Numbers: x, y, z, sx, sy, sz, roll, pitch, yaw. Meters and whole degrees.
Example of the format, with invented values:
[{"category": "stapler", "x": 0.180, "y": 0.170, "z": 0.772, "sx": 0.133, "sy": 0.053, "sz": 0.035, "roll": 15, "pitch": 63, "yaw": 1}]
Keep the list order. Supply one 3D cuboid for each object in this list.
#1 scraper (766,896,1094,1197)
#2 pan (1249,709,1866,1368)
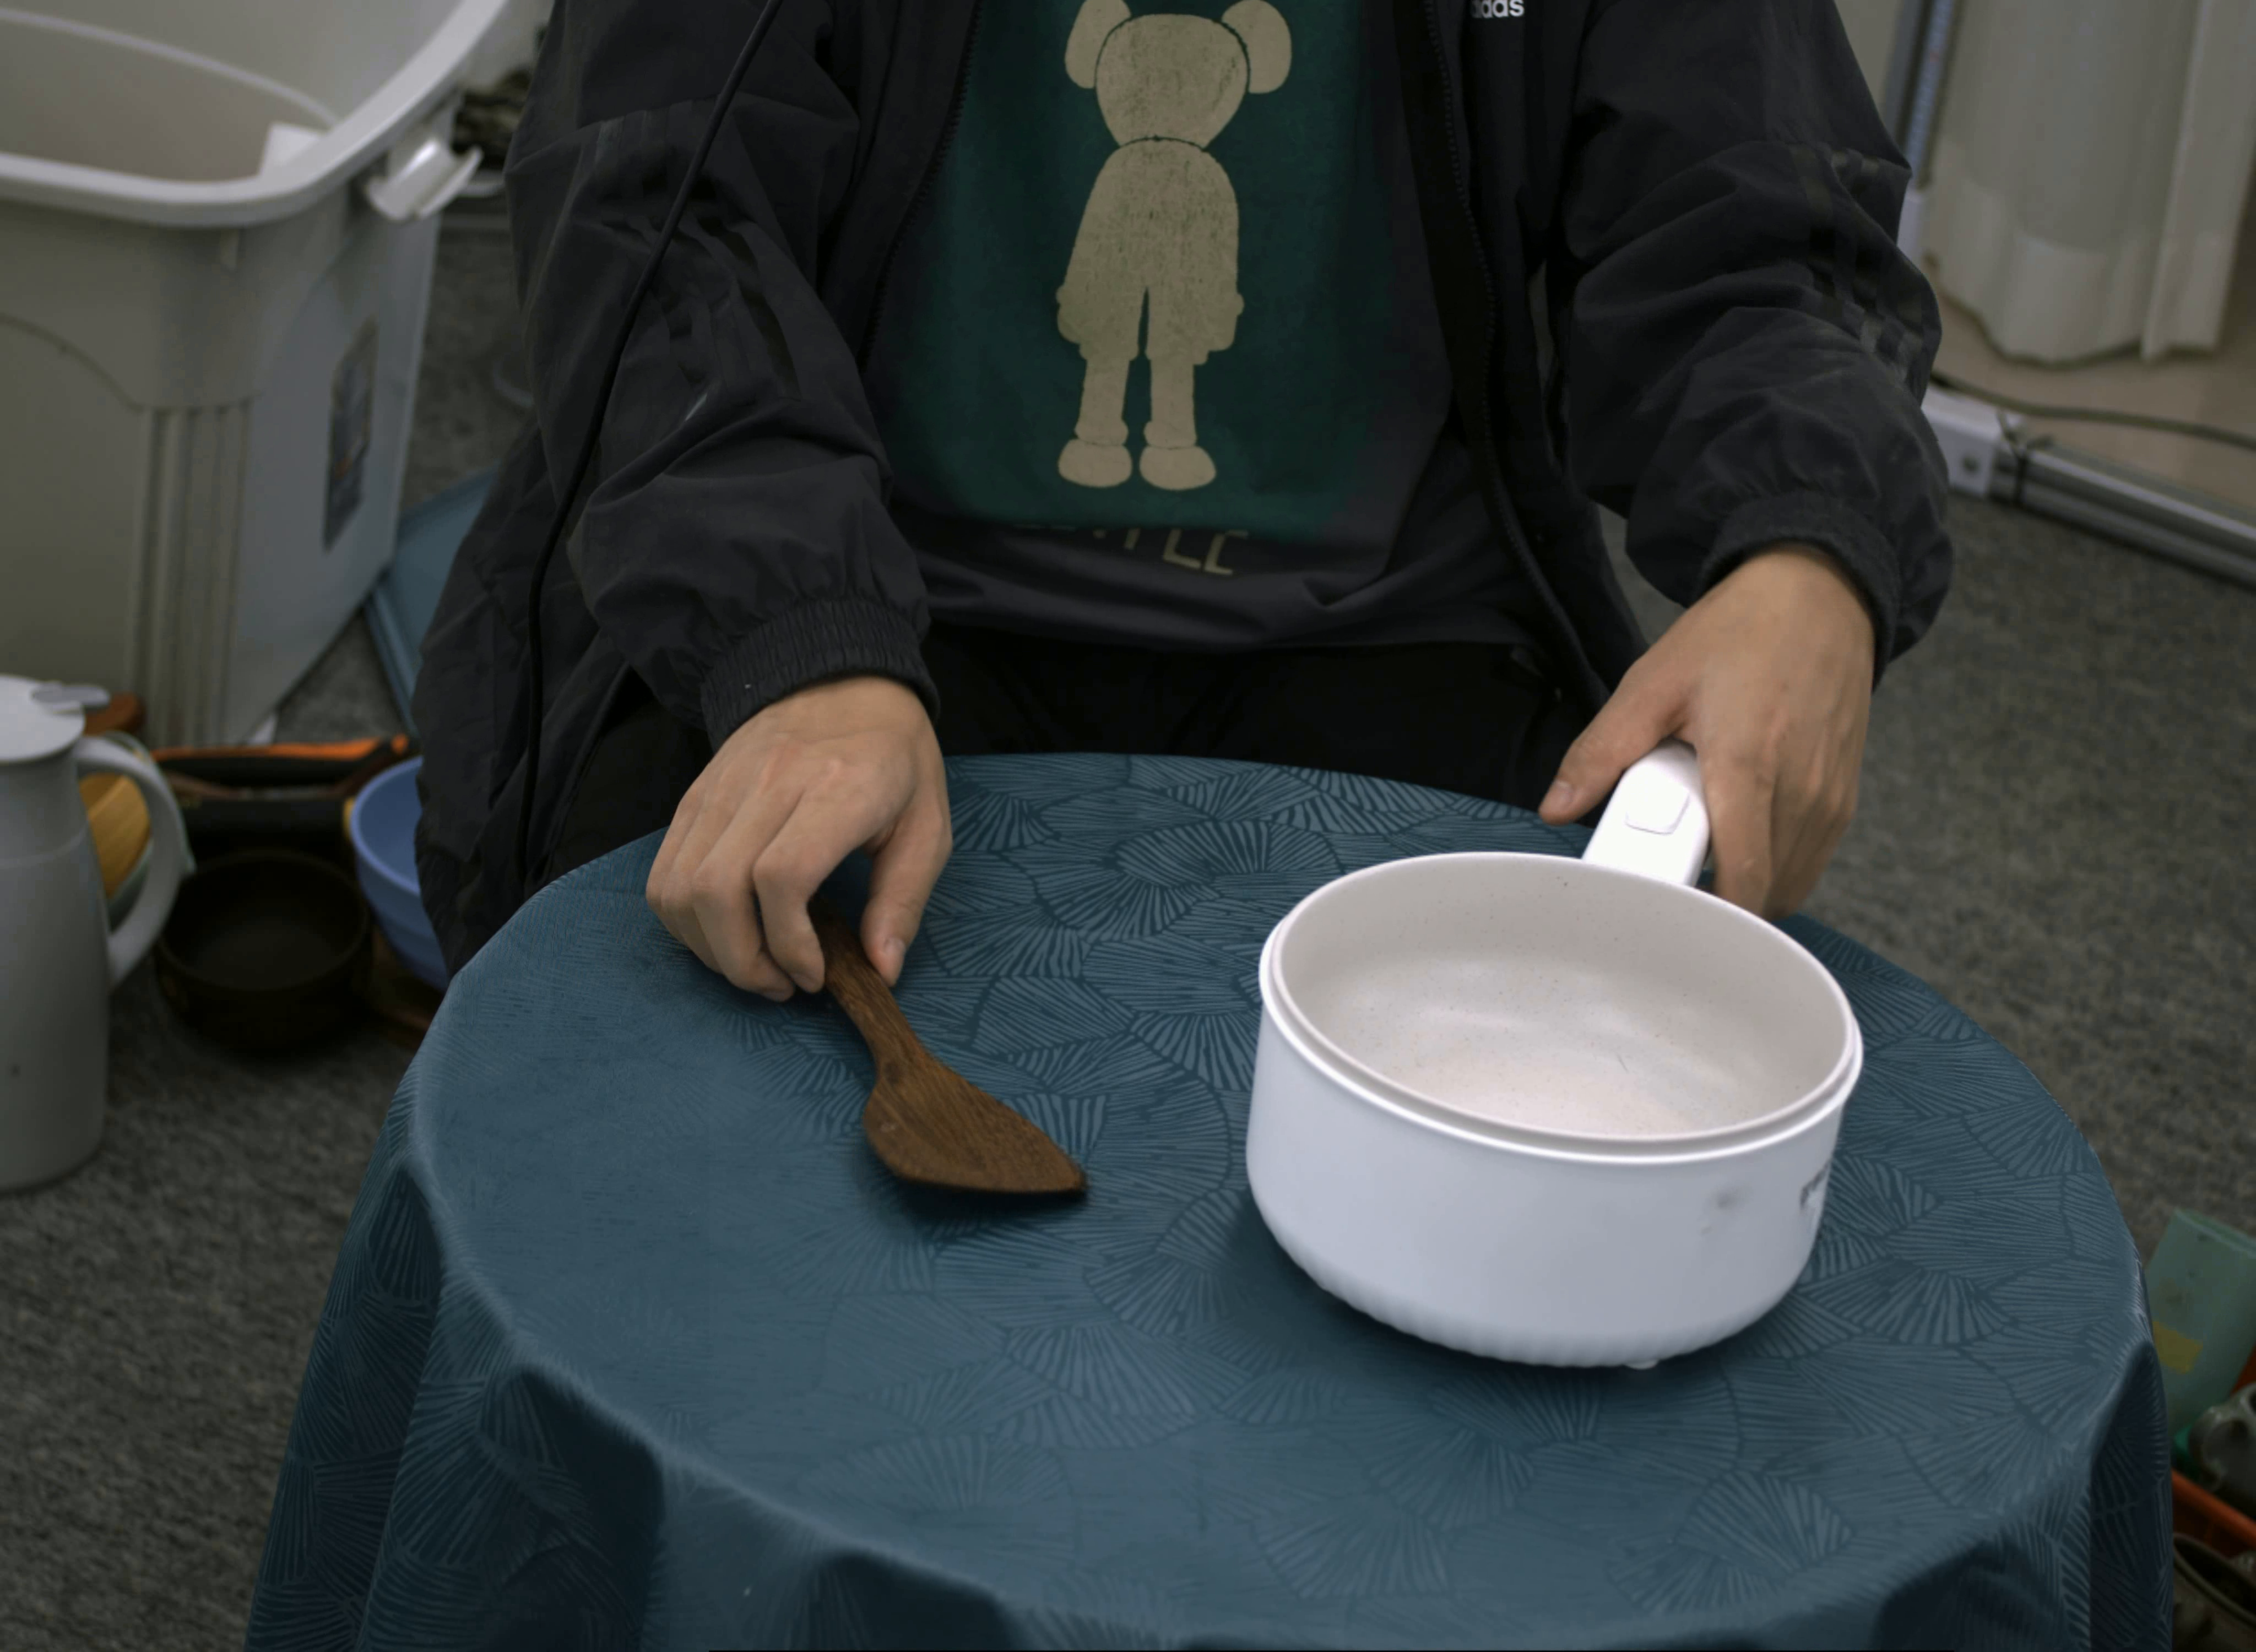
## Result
[{"category": "scraper", "x": -0.081, "y": 0.076, "z": 1.859, "sx": 0.075, "sy": 0.011, "sz": 0.213, "roll": 4, "pitch": 26, "yaw": -27}, {"category": "pan", "x": 0.161, "y": 0.068, "z": 1.843, "sx": 0.201, "sy": 0.102, "sz": 0.355, "roll": 13, "pitch": 26, "yaw": 13}]
